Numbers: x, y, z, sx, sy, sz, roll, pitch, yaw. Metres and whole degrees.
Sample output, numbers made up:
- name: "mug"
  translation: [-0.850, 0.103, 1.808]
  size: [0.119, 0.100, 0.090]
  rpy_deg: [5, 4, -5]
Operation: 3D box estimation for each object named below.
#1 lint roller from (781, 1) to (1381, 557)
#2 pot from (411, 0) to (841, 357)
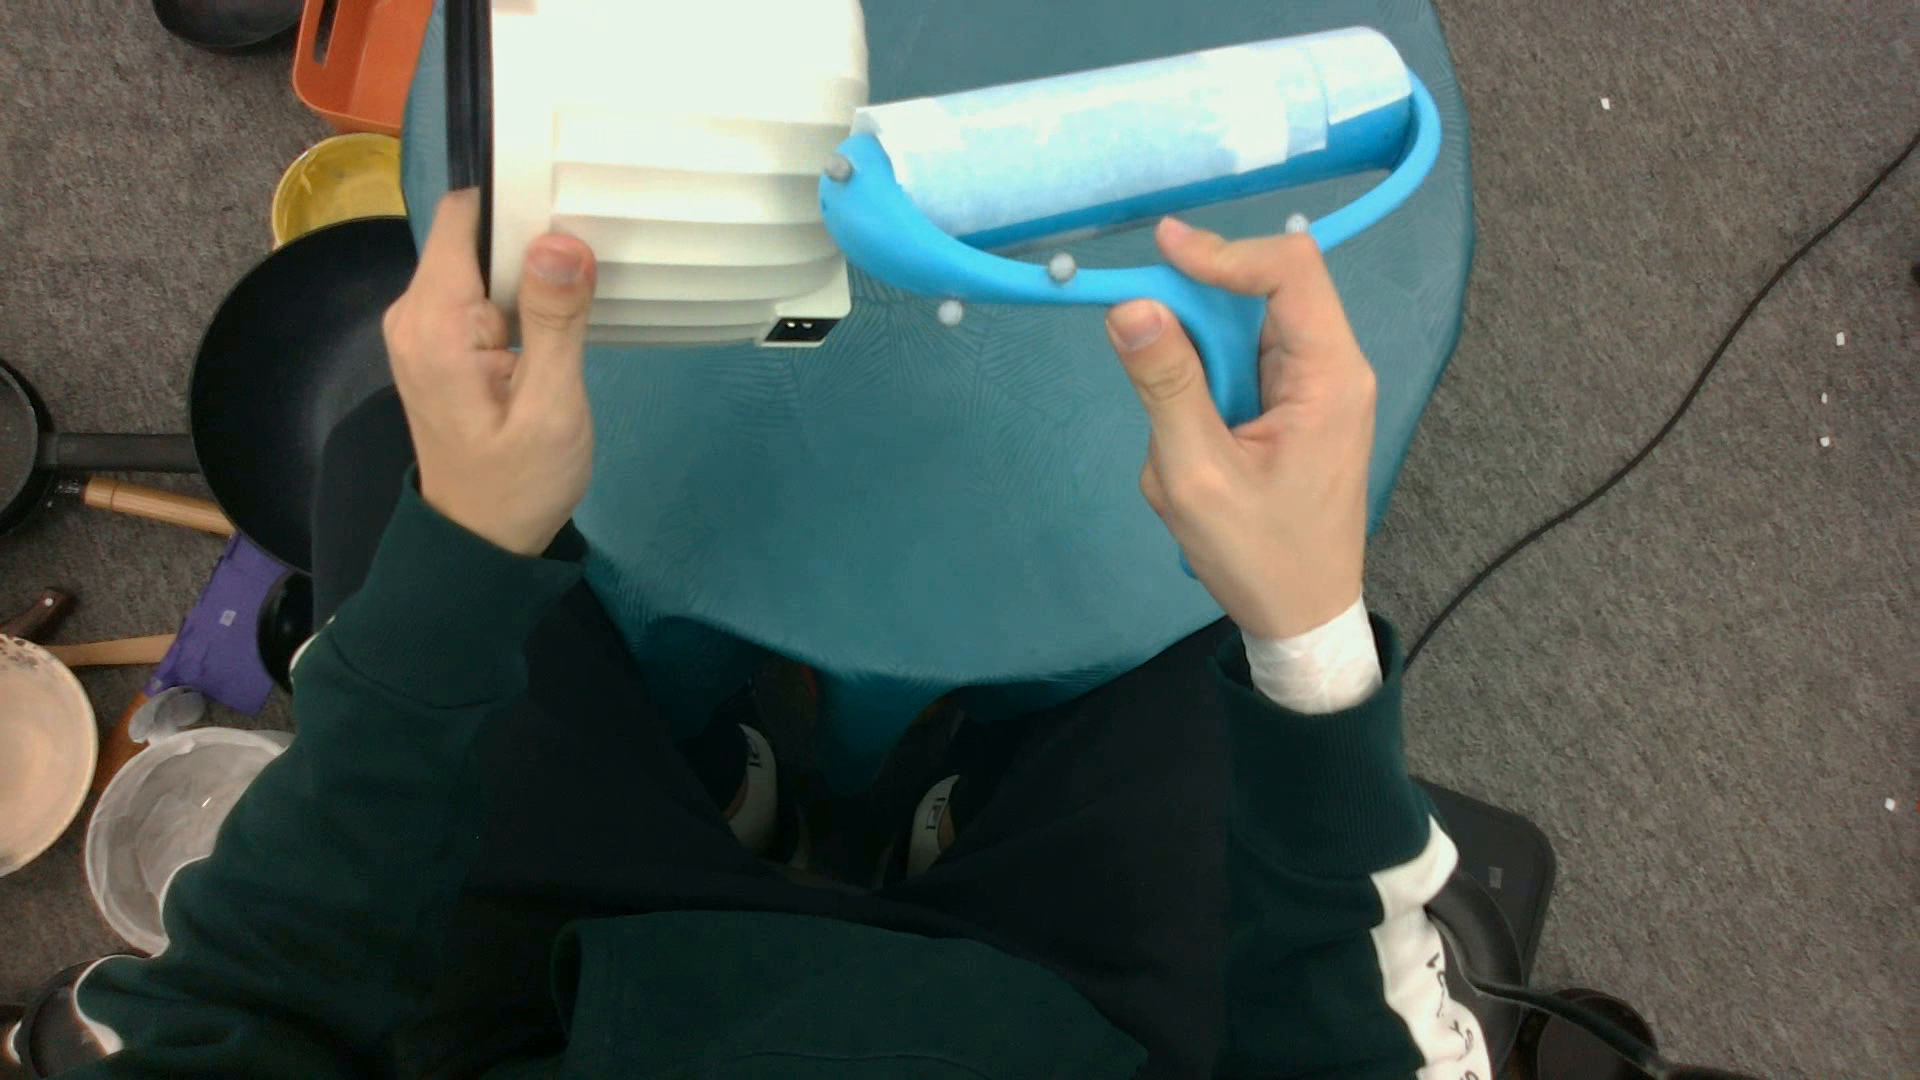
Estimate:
- name: "lint roller"
  translation: [0.067, -0.082, 0.472]
  size: [0.230, 0.068, 0.180]
  rpy_deg: [-25, 96, -26]
- name: "pot"
  translation: [-0.131, -0.169, 0.527]
  size: [0.143, 0.239, 0.191]
  rpy_deg: [-7, 80, -26]
